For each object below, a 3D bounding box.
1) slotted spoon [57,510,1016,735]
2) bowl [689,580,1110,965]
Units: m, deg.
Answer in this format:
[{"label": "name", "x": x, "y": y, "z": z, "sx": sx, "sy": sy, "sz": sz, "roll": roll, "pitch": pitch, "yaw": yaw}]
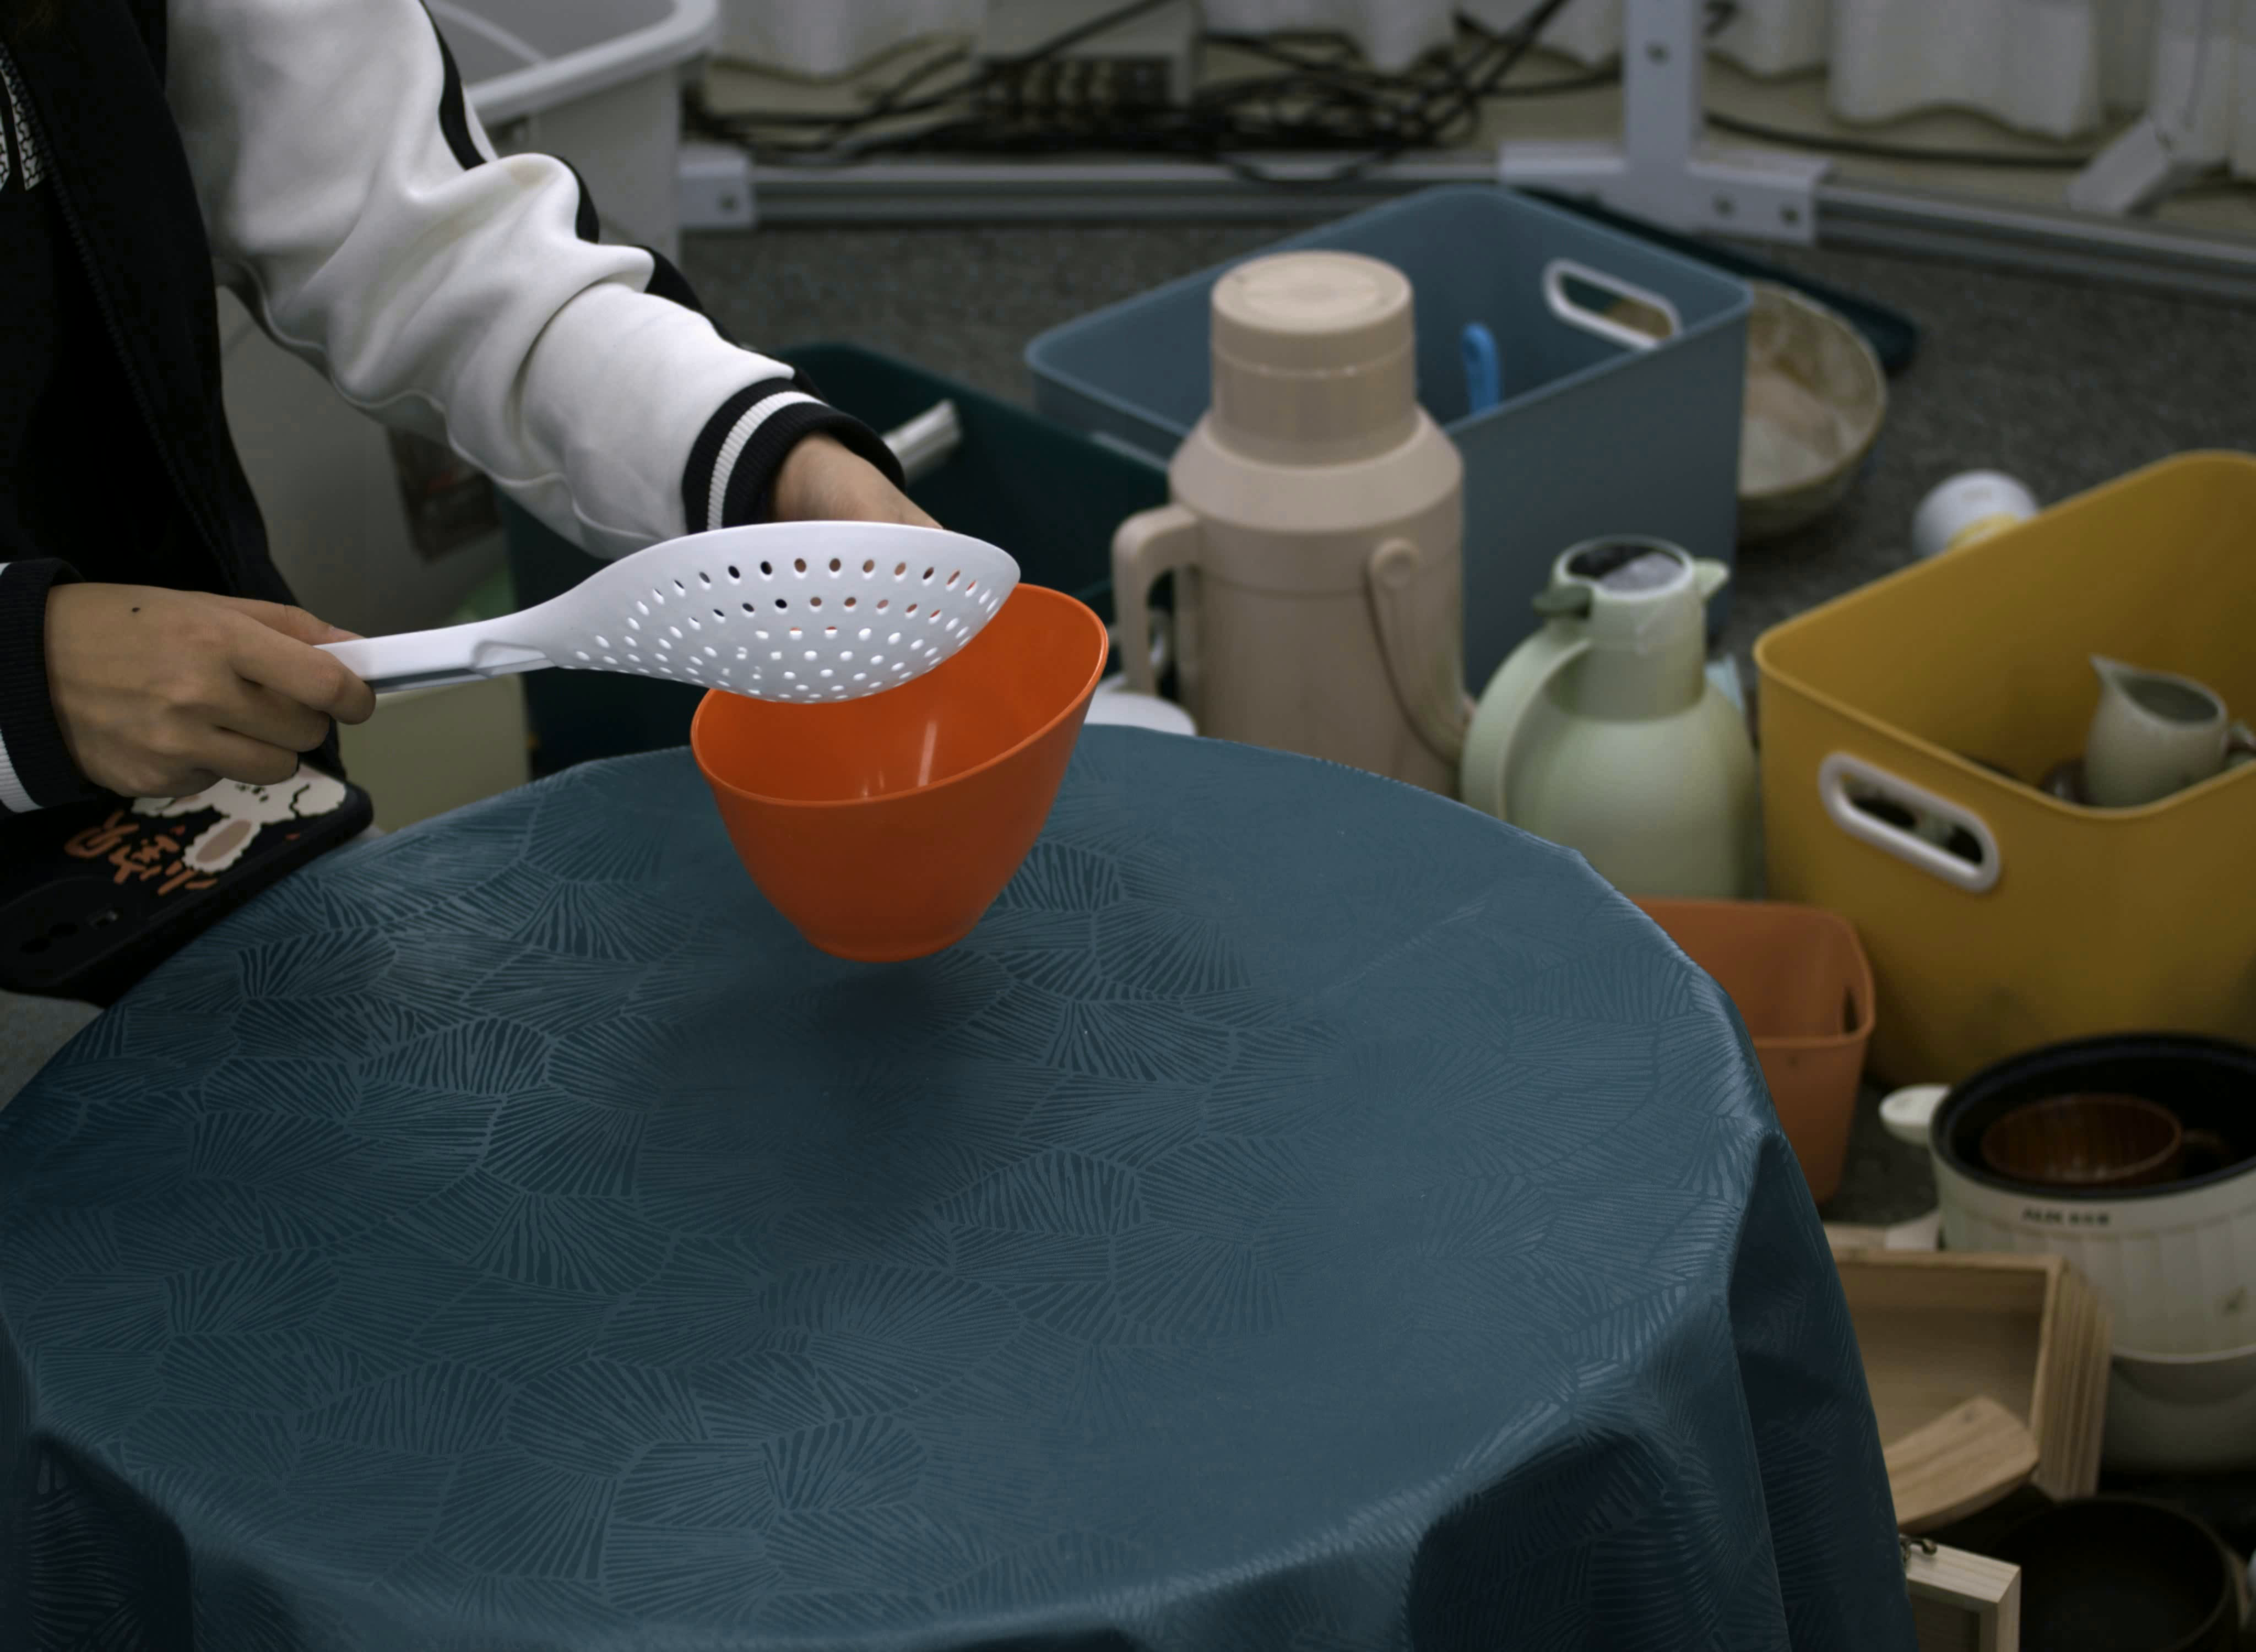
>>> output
[{"label": "slotted spoon", "x": -0.203, "y": -0.062, "z": 1.877, "sx": 0.346, "sy": 0.046, "sz": 0.135, "roll": -3, "pitch": -14, "yaw": 21}, {"label": "bowl", "x": -0.076, "y": -0.012, "z": 1.946, "sx": 0.147, "sy": 0.103, "sz": 0.150, "roll": -3, "pitch": 33, "yaw": 2}]
